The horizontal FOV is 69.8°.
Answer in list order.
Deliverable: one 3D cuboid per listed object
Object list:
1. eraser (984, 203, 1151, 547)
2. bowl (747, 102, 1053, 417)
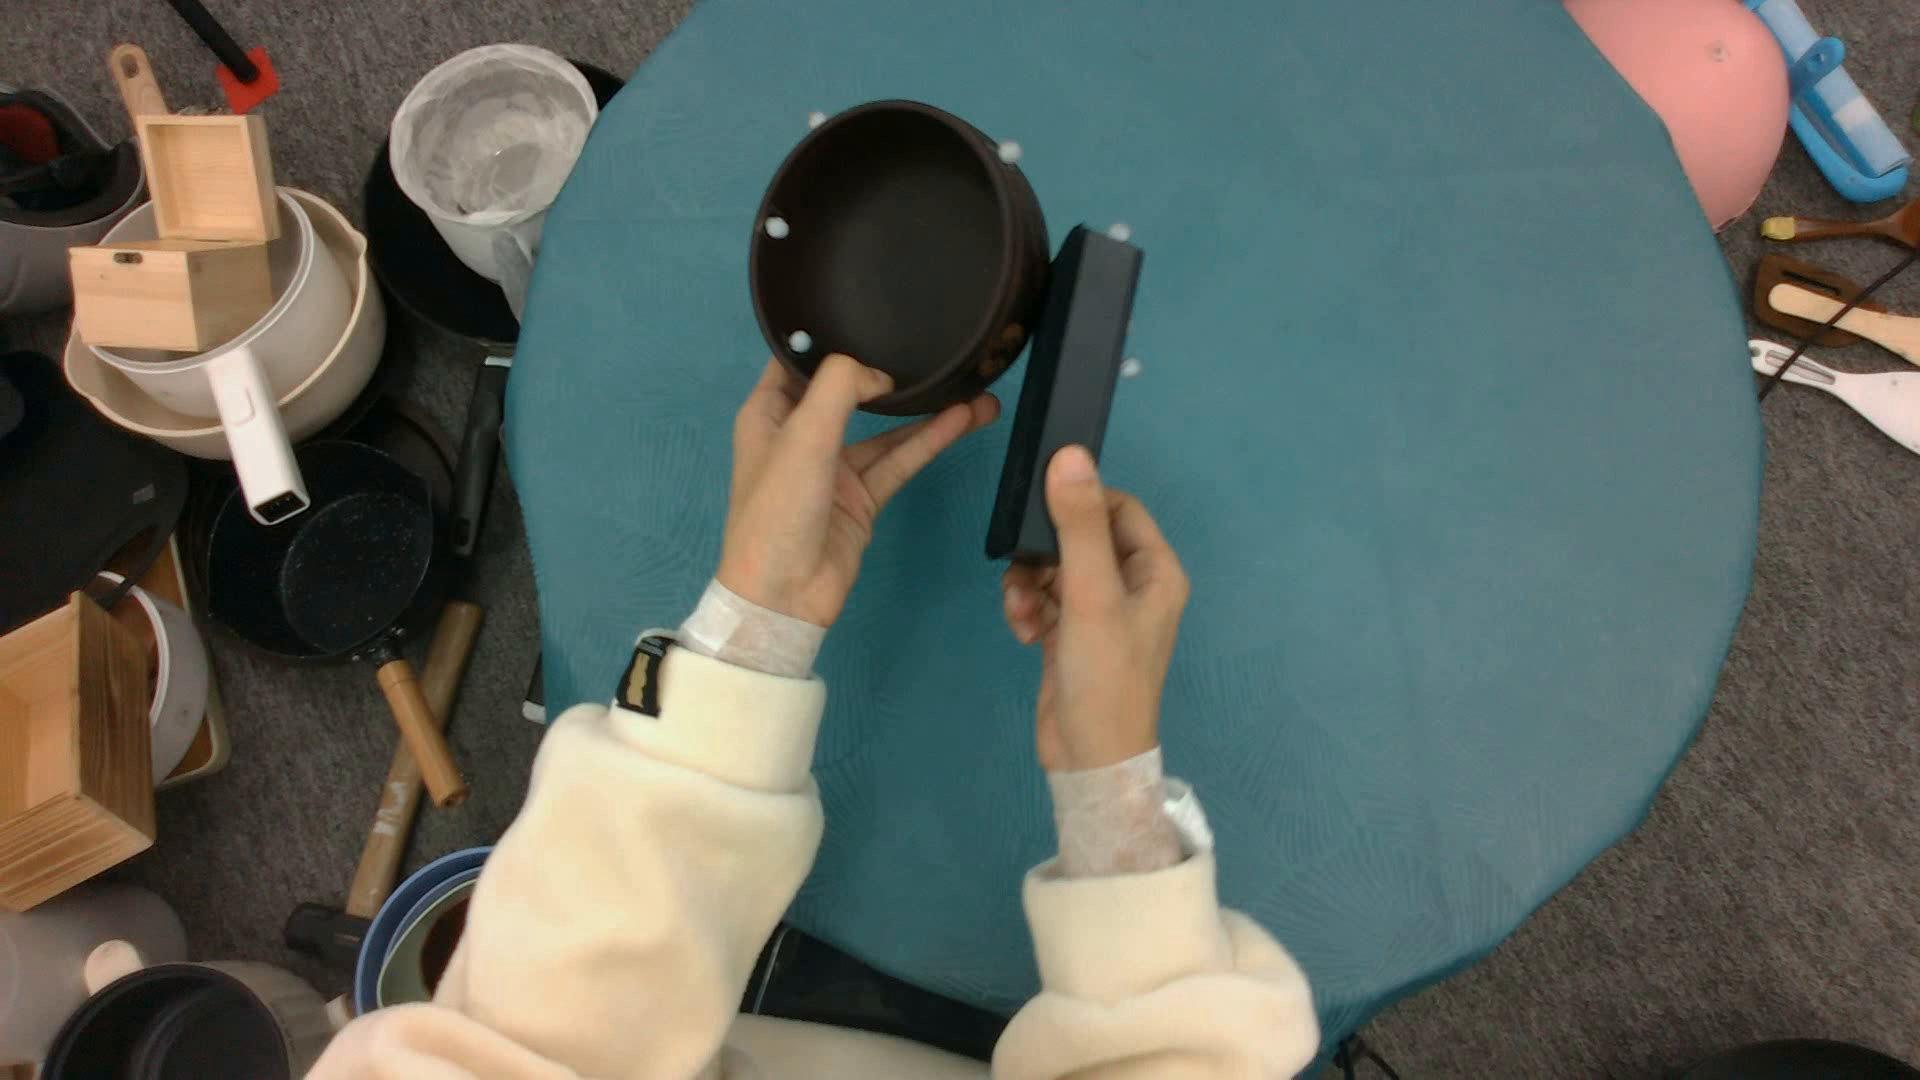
[{"bbox_3d":[0.041,-0.062,0.524,0.030,0.053,0.125,16,82,-5],"label":"eraser"},{"bbox_3d":[-0.017,-0.107,0.543,0.118,0.070,0.118,1,91,25],"label":"bowl"}]
